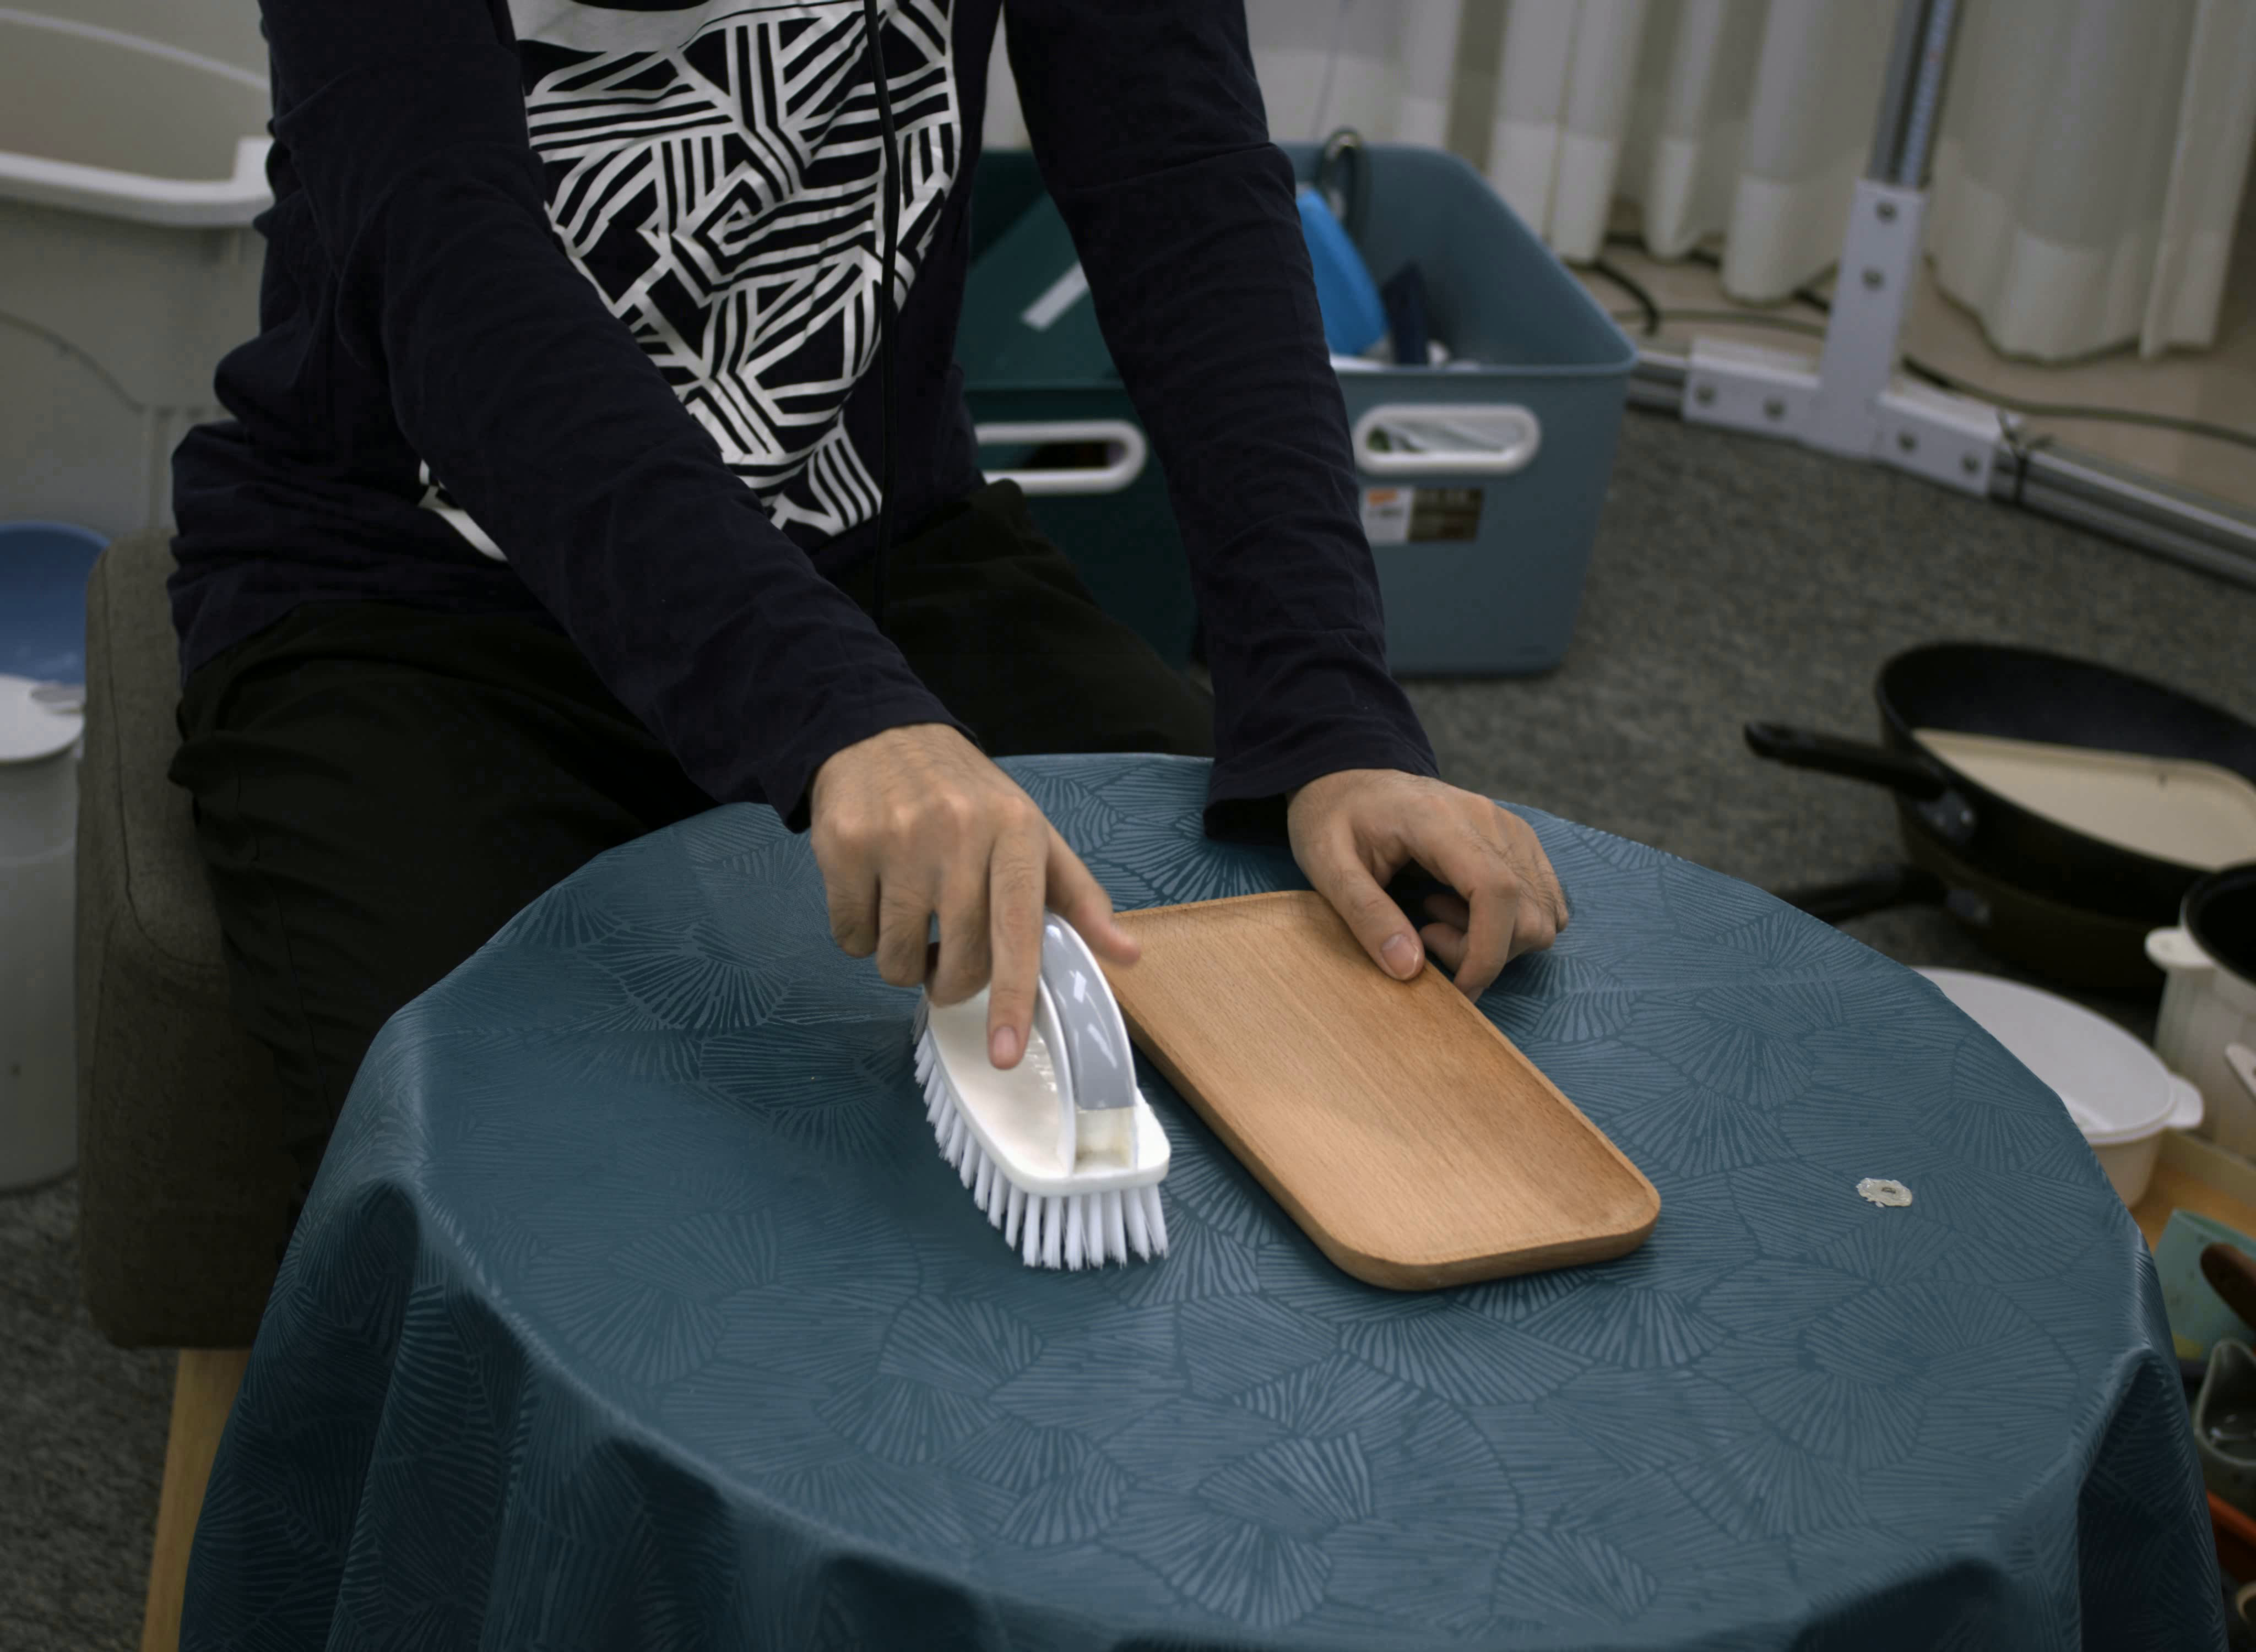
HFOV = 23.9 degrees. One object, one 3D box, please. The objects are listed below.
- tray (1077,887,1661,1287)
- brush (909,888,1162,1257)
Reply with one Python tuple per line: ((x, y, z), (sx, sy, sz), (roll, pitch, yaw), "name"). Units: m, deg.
((0.080, 0.089, 1.874), (0.129, 0.023, 0.253), (-4, 28, -25), "tray")
((-0.038, 0.068, 1.807), (0.061, 0.094, 0.177), (-3, 26, -20), "brush")
